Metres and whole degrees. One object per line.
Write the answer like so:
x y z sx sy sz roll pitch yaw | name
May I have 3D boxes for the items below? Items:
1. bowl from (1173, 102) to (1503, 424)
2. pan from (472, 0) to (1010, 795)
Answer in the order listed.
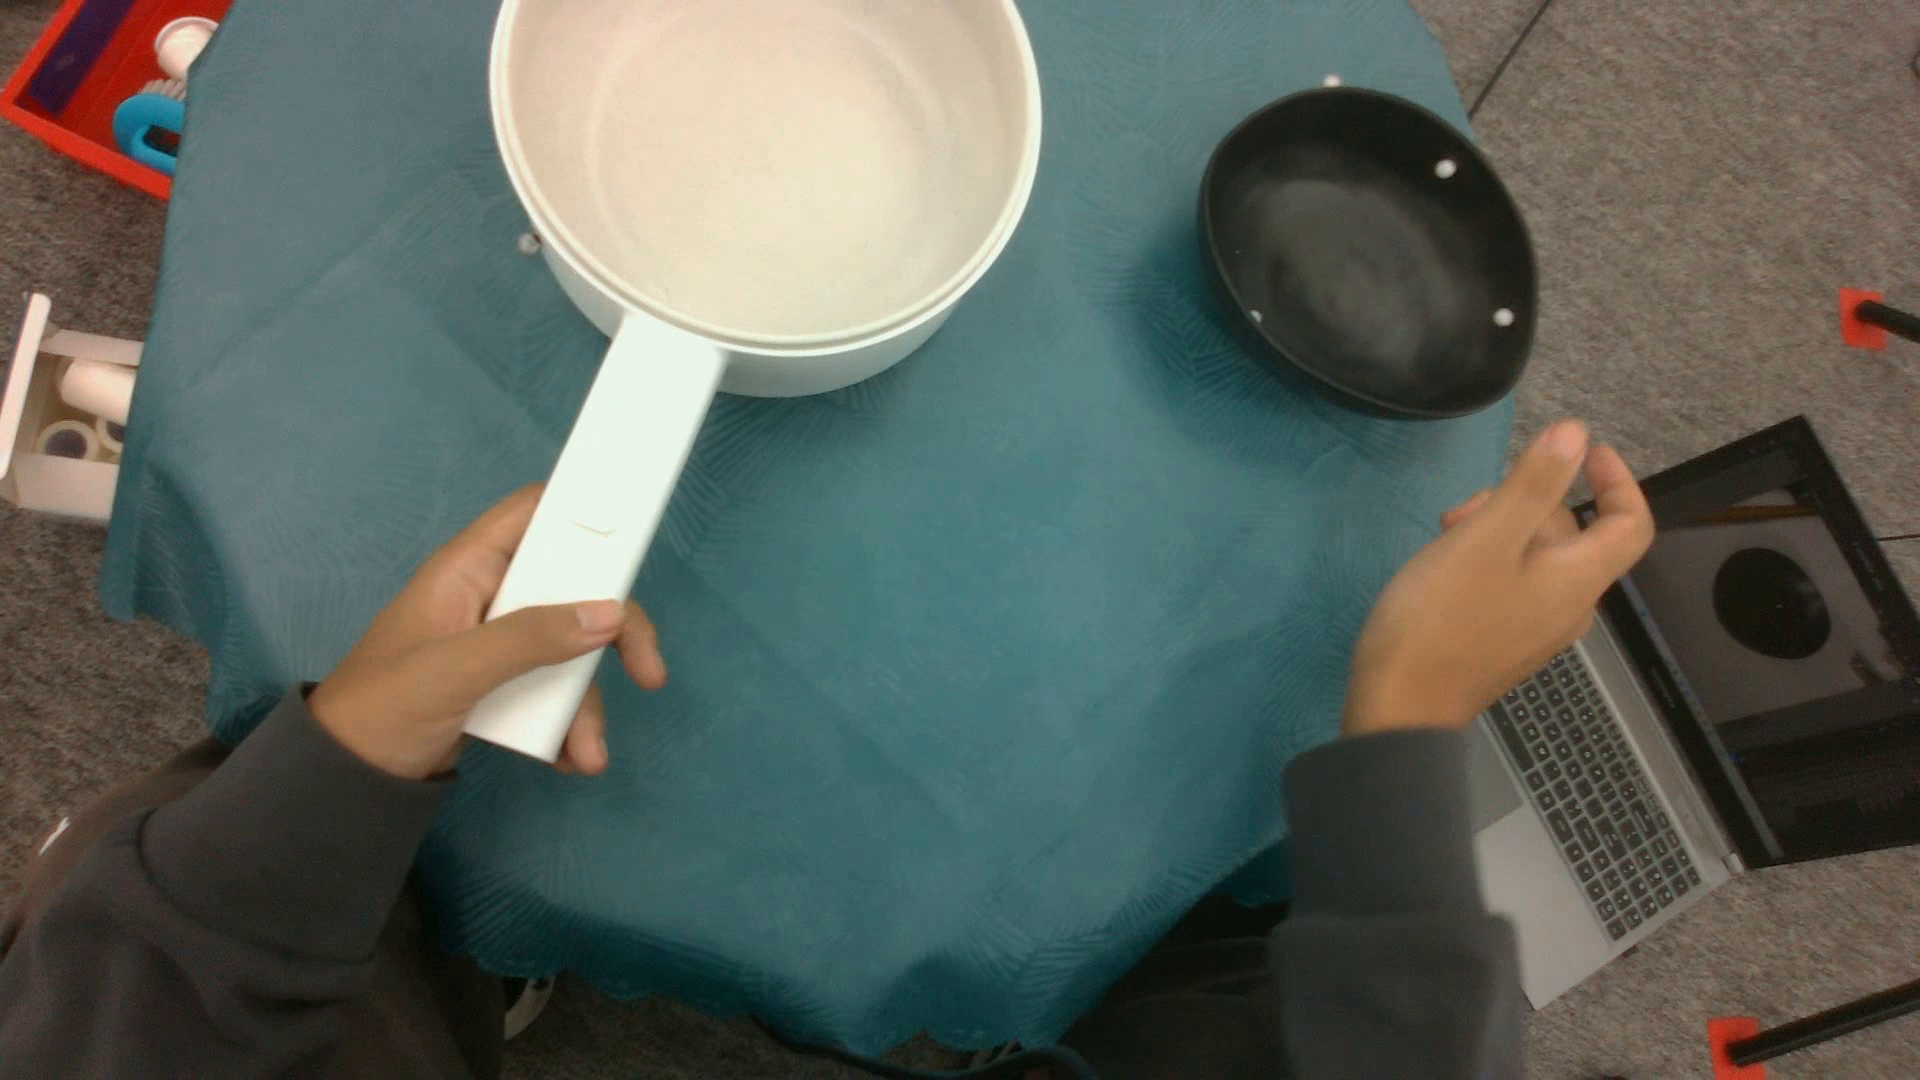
0.169 -0.120 0.638 0.170 0.066 0.138 30 74 -5 | bowl
-0.109 -0.073 0.562 0.201 0.102 0.355 19 77 -9 | pan
